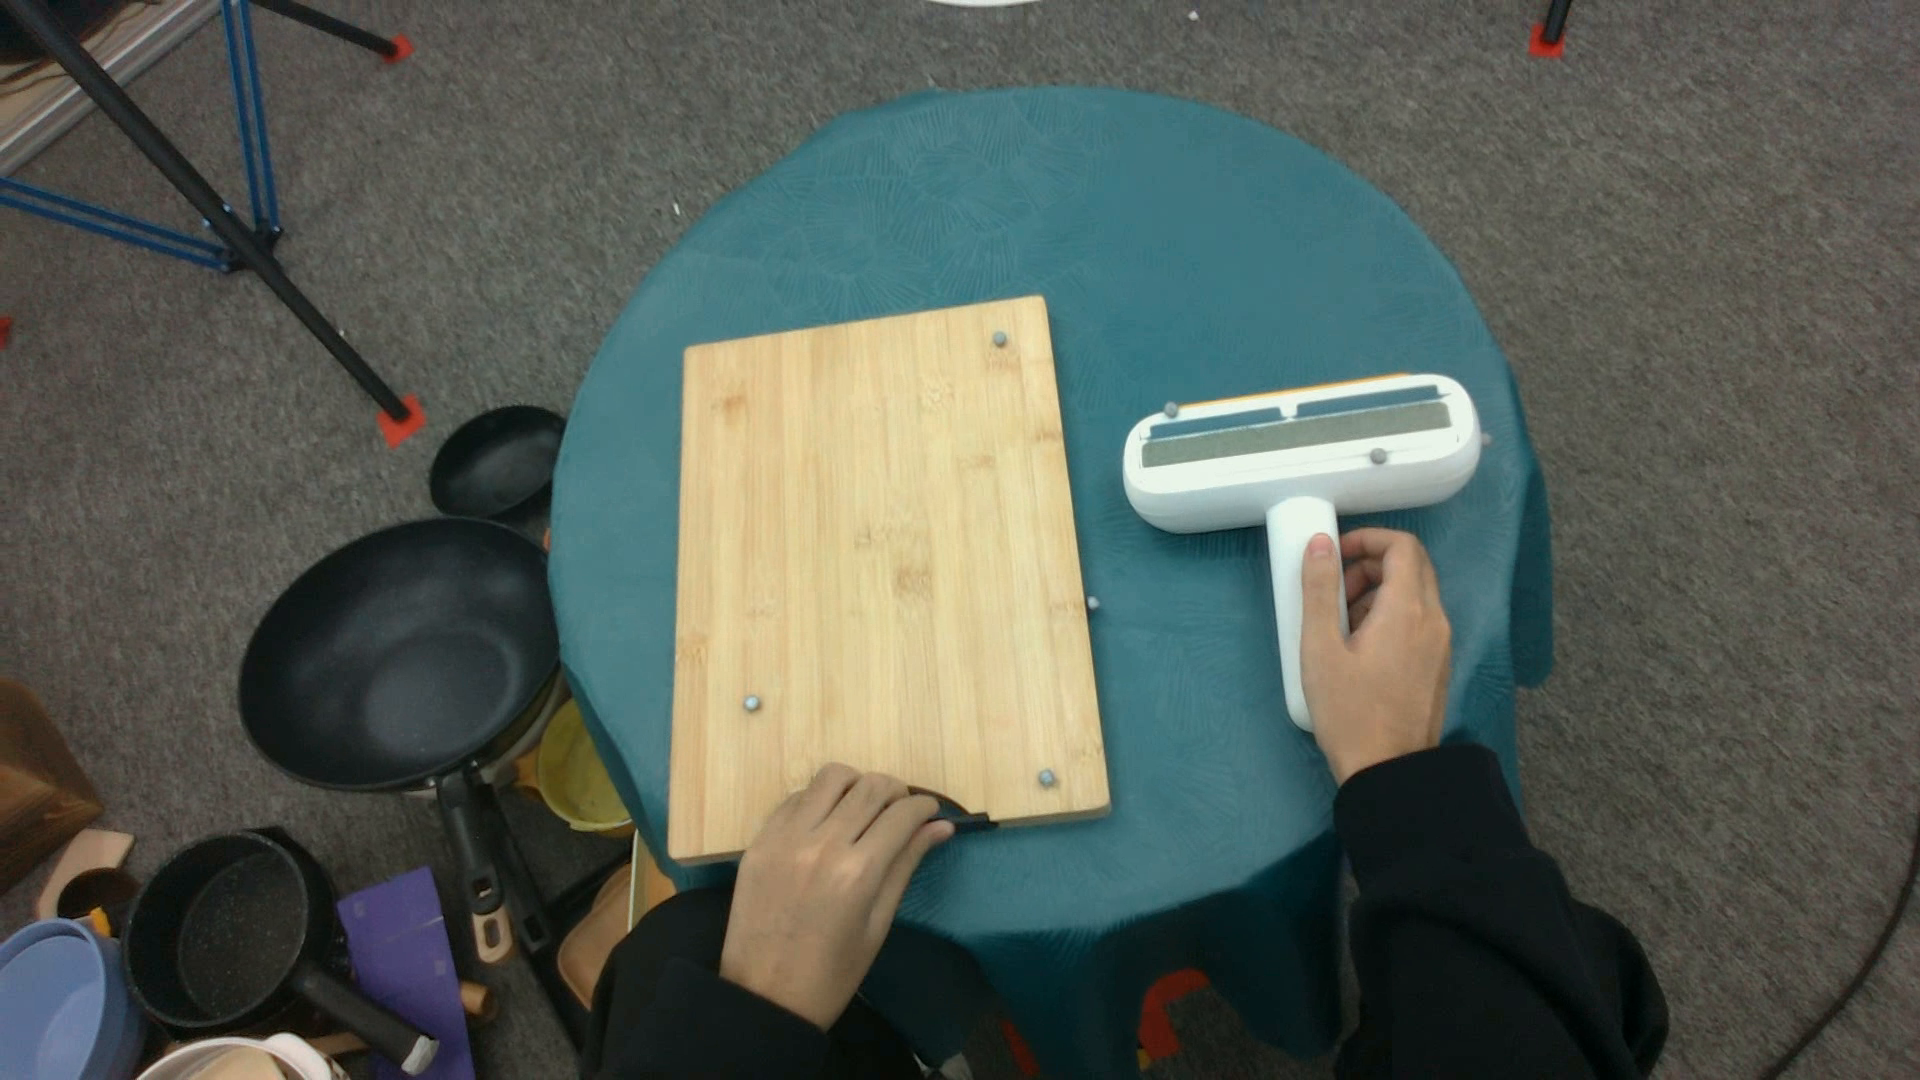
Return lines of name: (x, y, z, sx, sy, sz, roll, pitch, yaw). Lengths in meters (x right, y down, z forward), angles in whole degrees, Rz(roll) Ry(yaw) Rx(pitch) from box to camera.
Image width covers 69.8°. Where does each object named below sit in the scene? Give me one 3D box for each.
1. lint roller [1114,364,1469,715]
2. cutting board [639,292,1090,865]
lint roller: (0.180, -0.003, 0.756, 0.192, 0.074, 0.193, -2, 63, 13)
cutting board: (-0.064, 0.007, 0.815, 0.250, 0.023, 0.350, -8, 61, 4)
